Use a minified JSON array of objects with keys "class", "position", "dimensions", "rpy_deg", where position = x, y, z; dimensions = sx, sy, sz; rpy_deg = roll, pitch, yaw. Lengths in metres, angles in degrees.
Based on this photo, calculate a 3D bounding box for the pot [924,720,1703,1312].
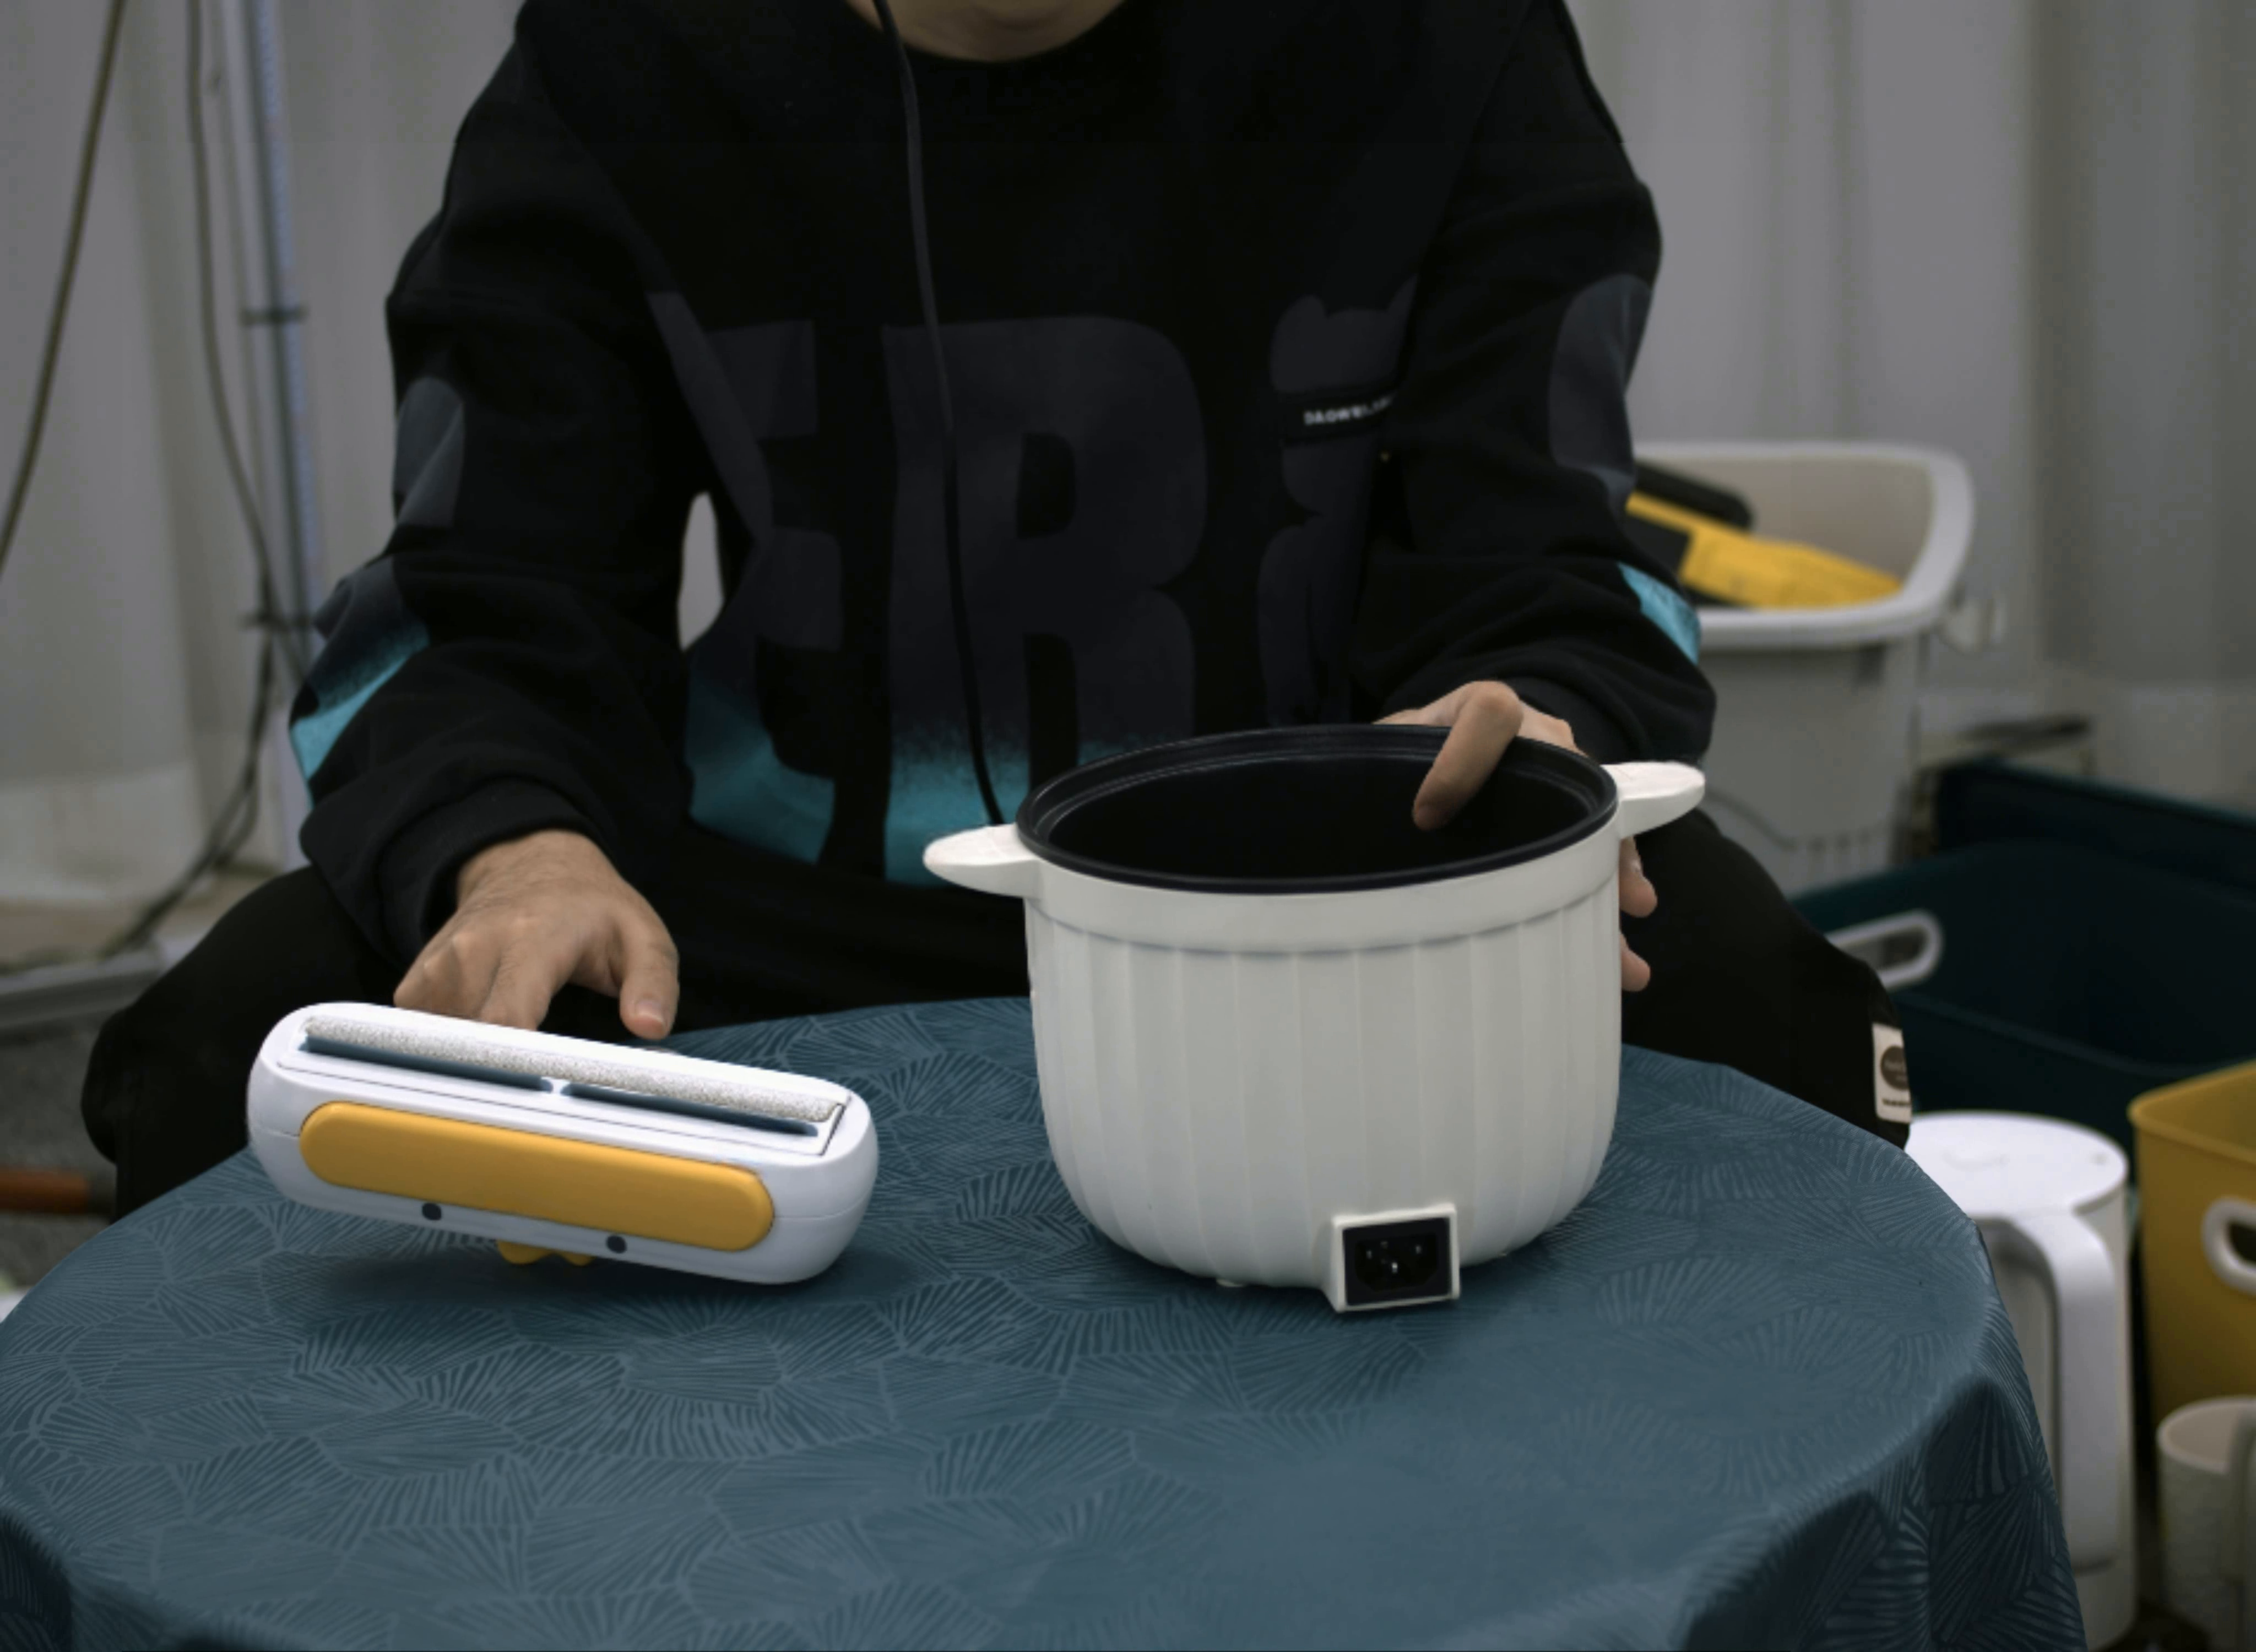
[{"class":"pot","position":[0.057,0.054,1.660],"dimensions":[0.239,0.142,0.192],"rpy_deg":[-5,17,-10]}]

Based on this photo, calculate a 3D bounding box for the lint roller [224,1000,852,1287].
[{"class":"lint roller","position":[-0.167,0.088,1.717],"dimensions":[0.192,0.074,0.193],"rpy_deg":[5,15,11]}]
